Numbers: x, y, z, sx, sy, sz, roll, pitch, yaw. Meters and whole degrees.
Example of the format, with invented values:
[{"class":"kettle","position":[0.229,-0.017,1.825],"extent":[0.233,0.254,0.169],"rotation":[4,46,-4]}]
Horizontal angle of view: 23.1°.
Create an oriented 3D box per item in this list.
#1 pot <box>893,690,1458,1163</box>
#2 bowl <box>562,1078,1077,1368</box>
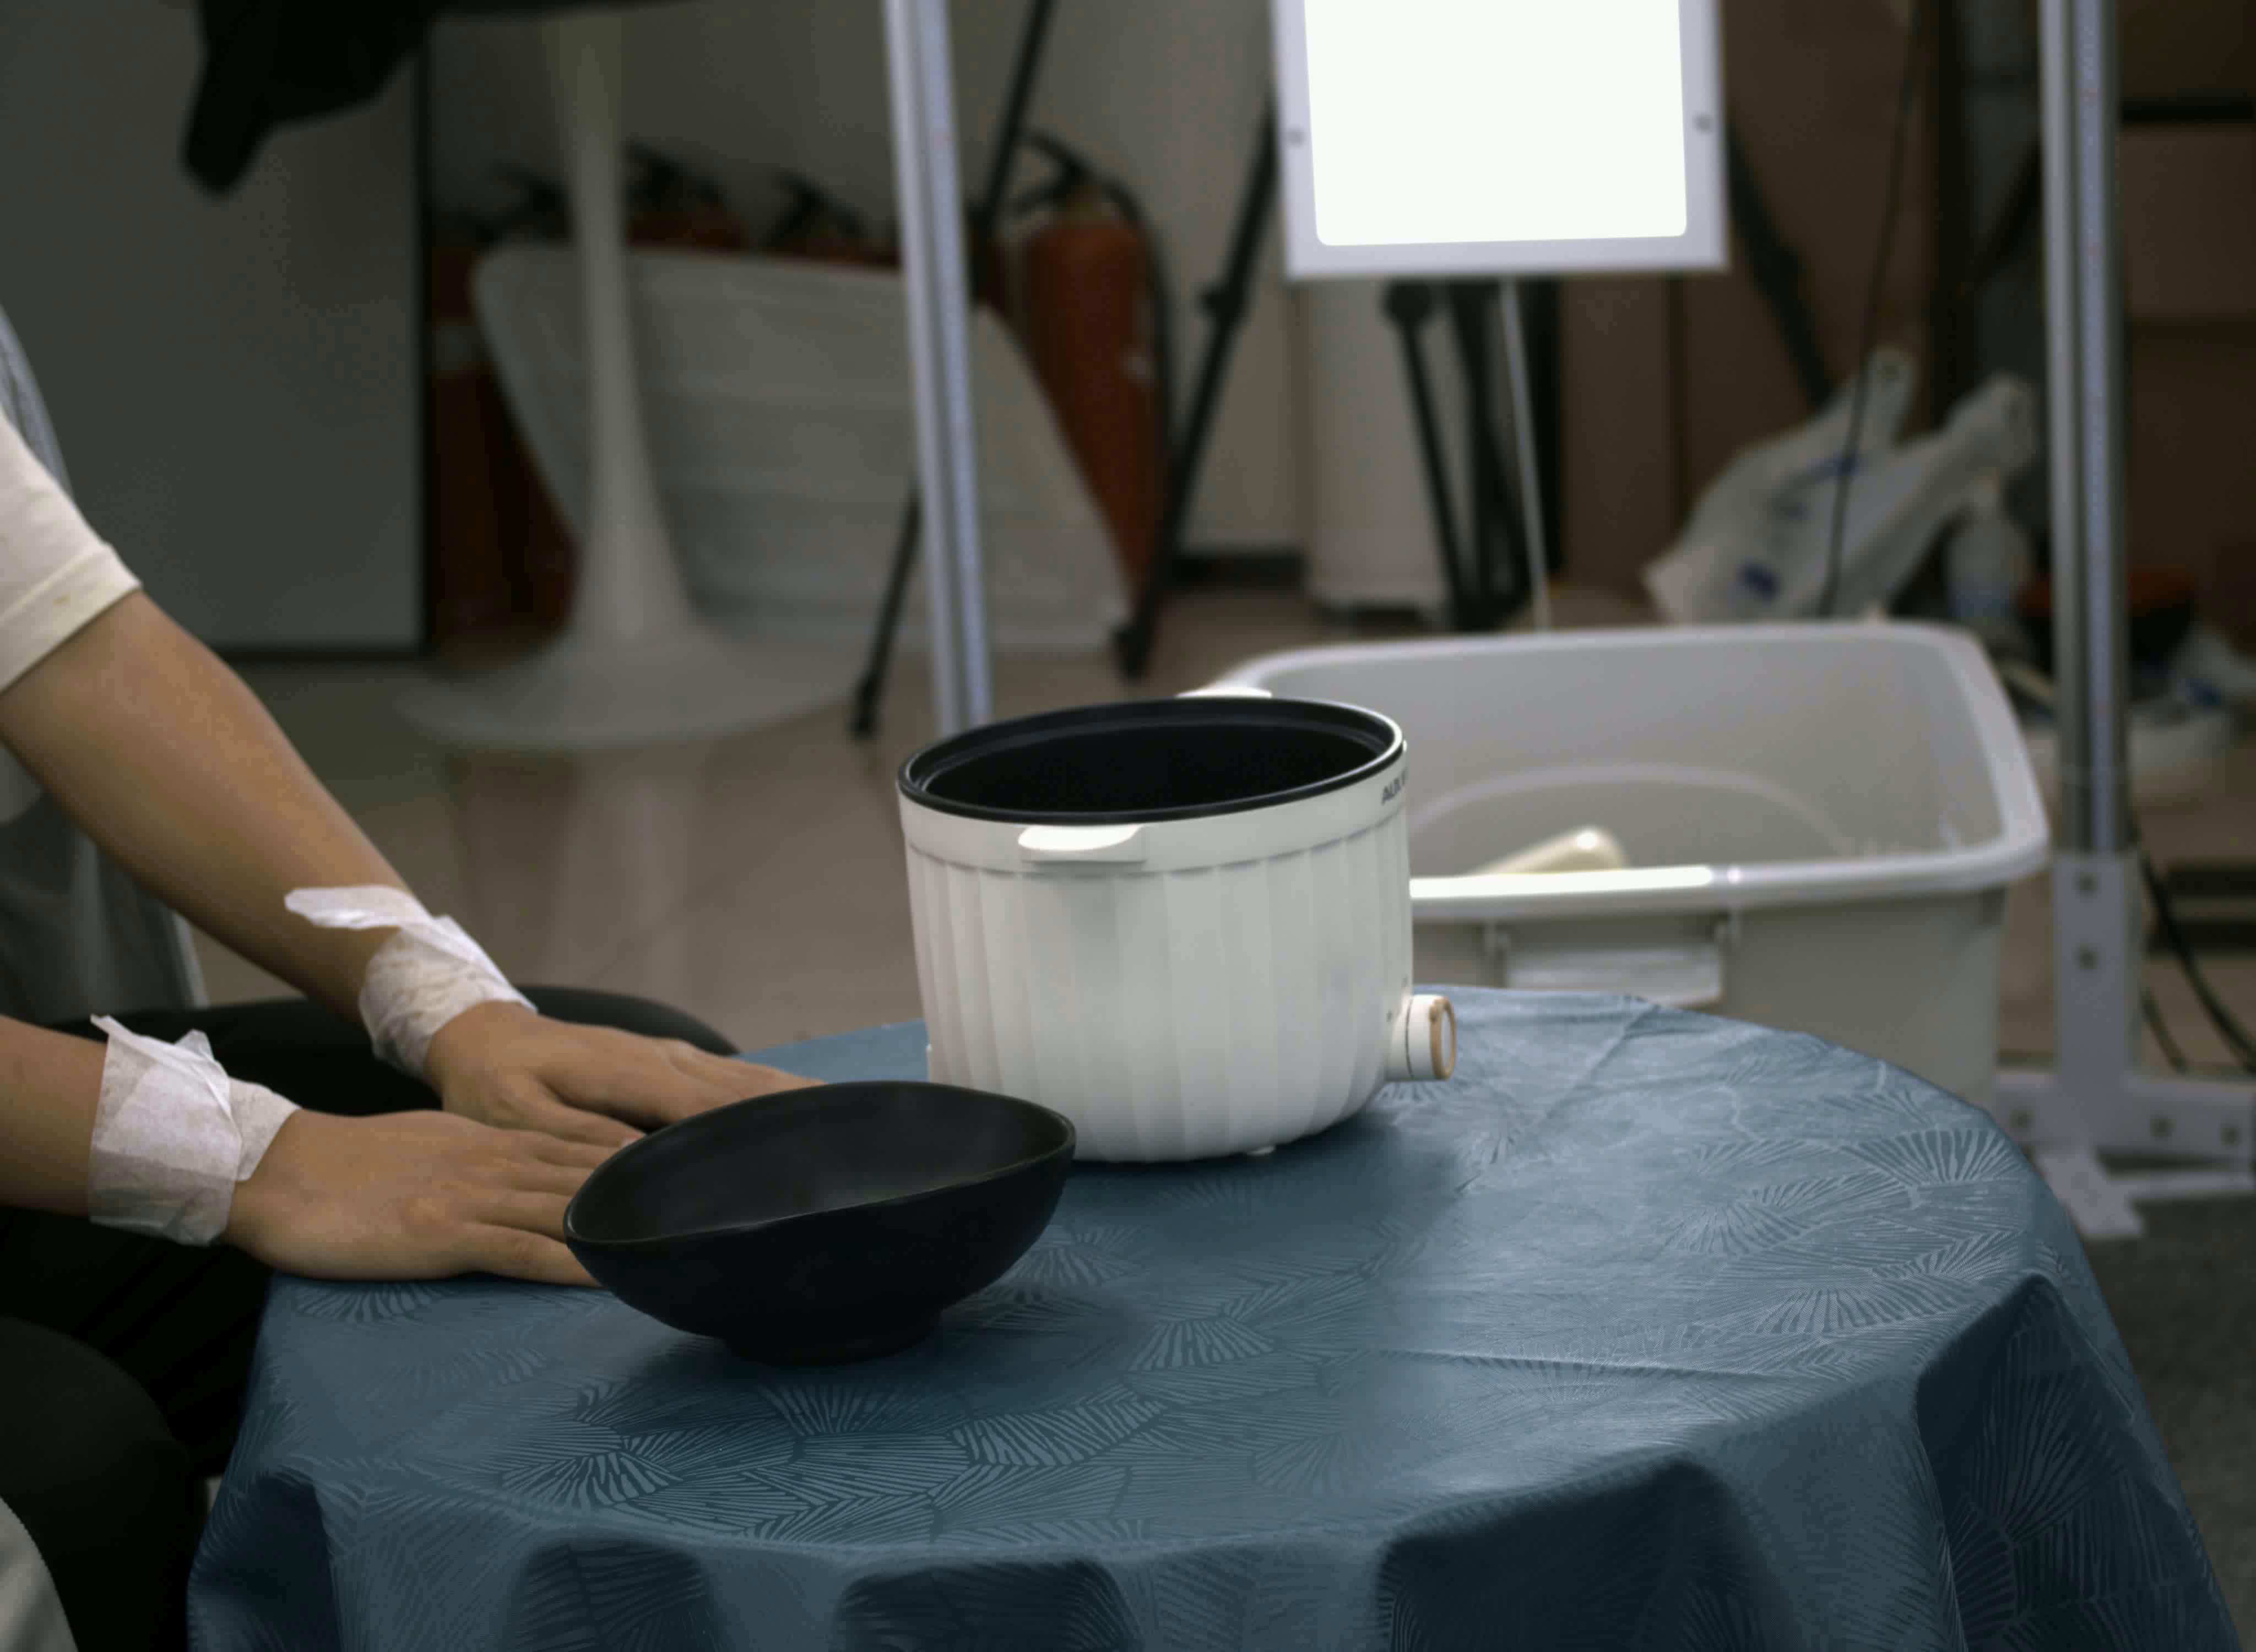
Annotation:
[{"class":"pot","position":[0.018,0.038,1.963],"extent":[0.192,0.143,0.237],"rotation":[-5,14,17]},{"class":"bowl","position":[-0.095,0.133,1.771],"extent":[0.167,0.067,0.139],"rotation":[-11,13,-19]}]
